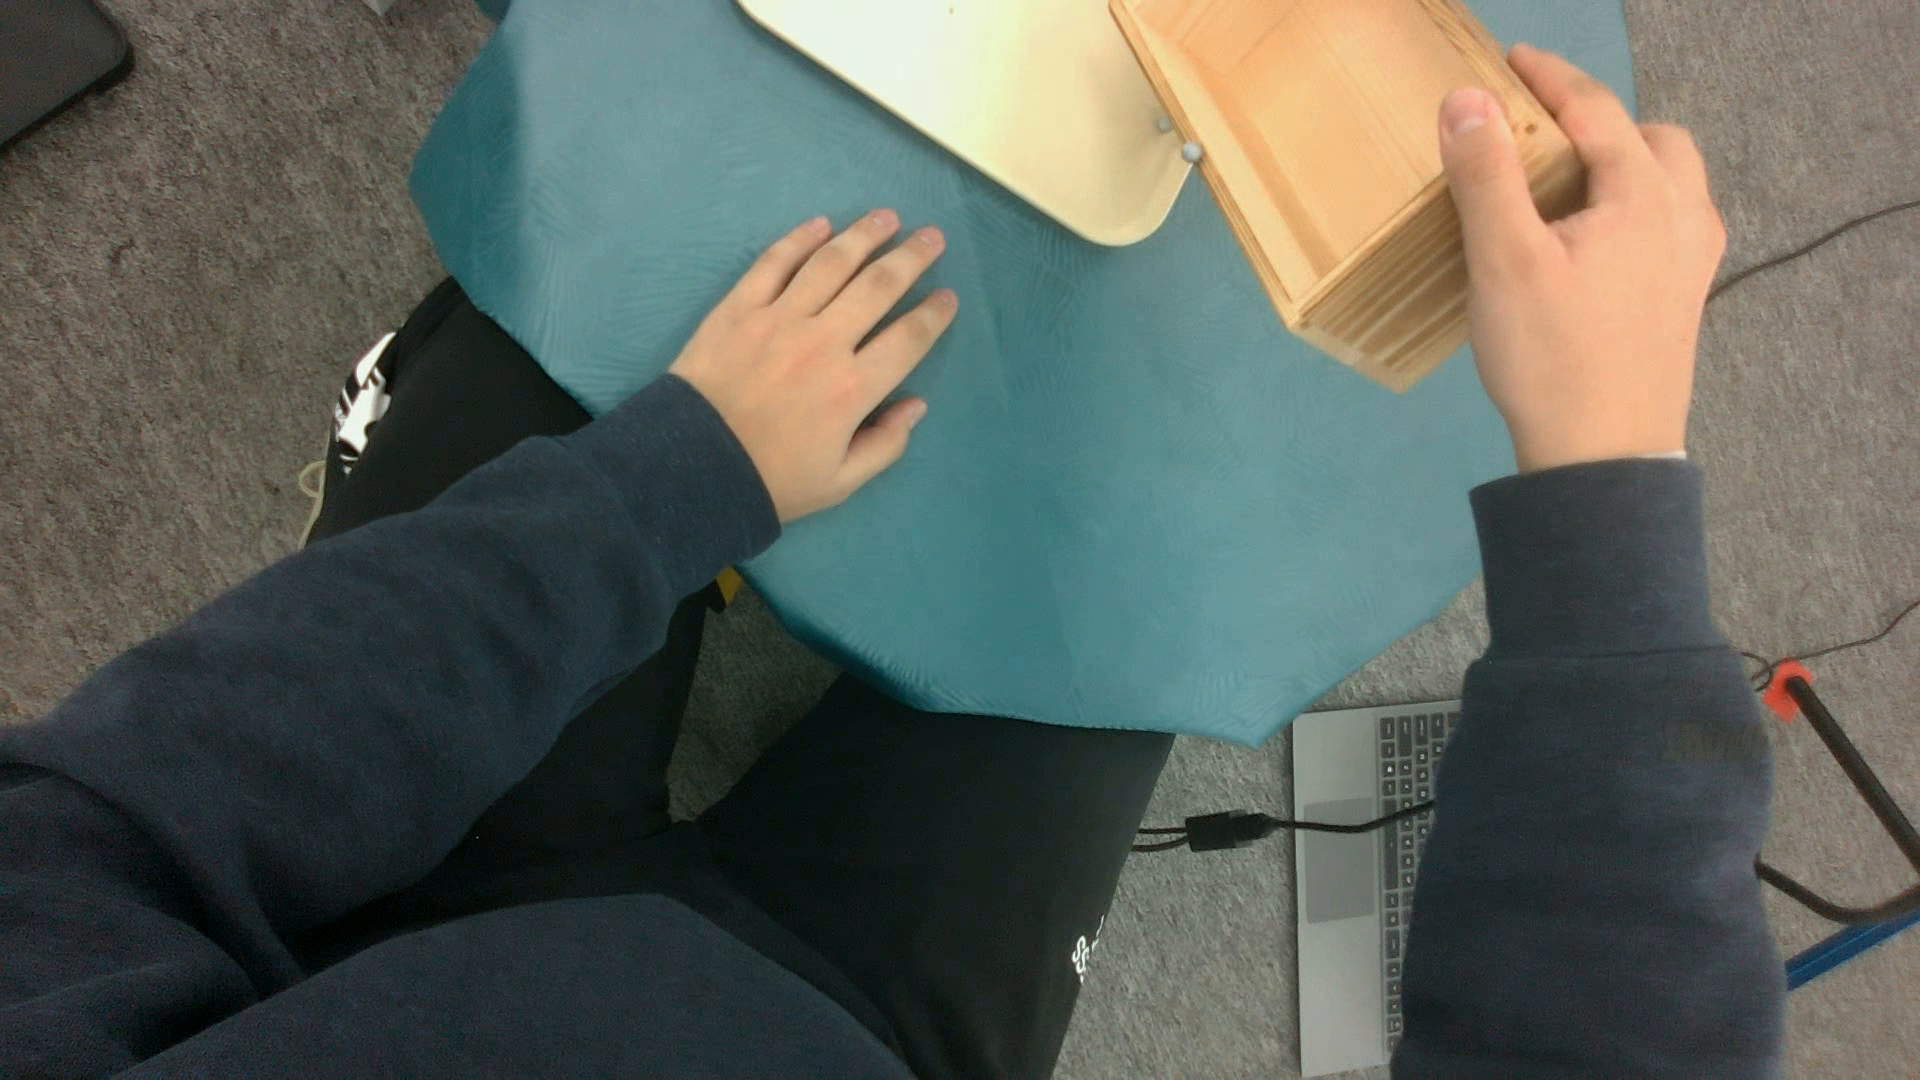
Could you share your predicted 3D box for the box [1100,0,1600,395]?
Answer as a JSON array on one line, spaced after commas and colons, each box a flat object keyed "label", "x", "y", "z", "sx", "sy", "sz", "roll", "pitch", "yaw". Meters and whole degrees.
[{"label": "box", "x": 0.150, "y": -0.178, "z": 0.569, "sx": 0.080, "sy": 0.212, "sz": 0.107, "roll": 17, "pitch": 131, "yaw": -39}]

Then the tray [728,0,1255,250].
[{"label": "tray", "x": 0.020, "y": -0.261, "z": 0.661, "sx": 0.239, "sy": 0.017, "sz": 0.171, "roll": 29, "pitch": 84, "yaw": -18}]
